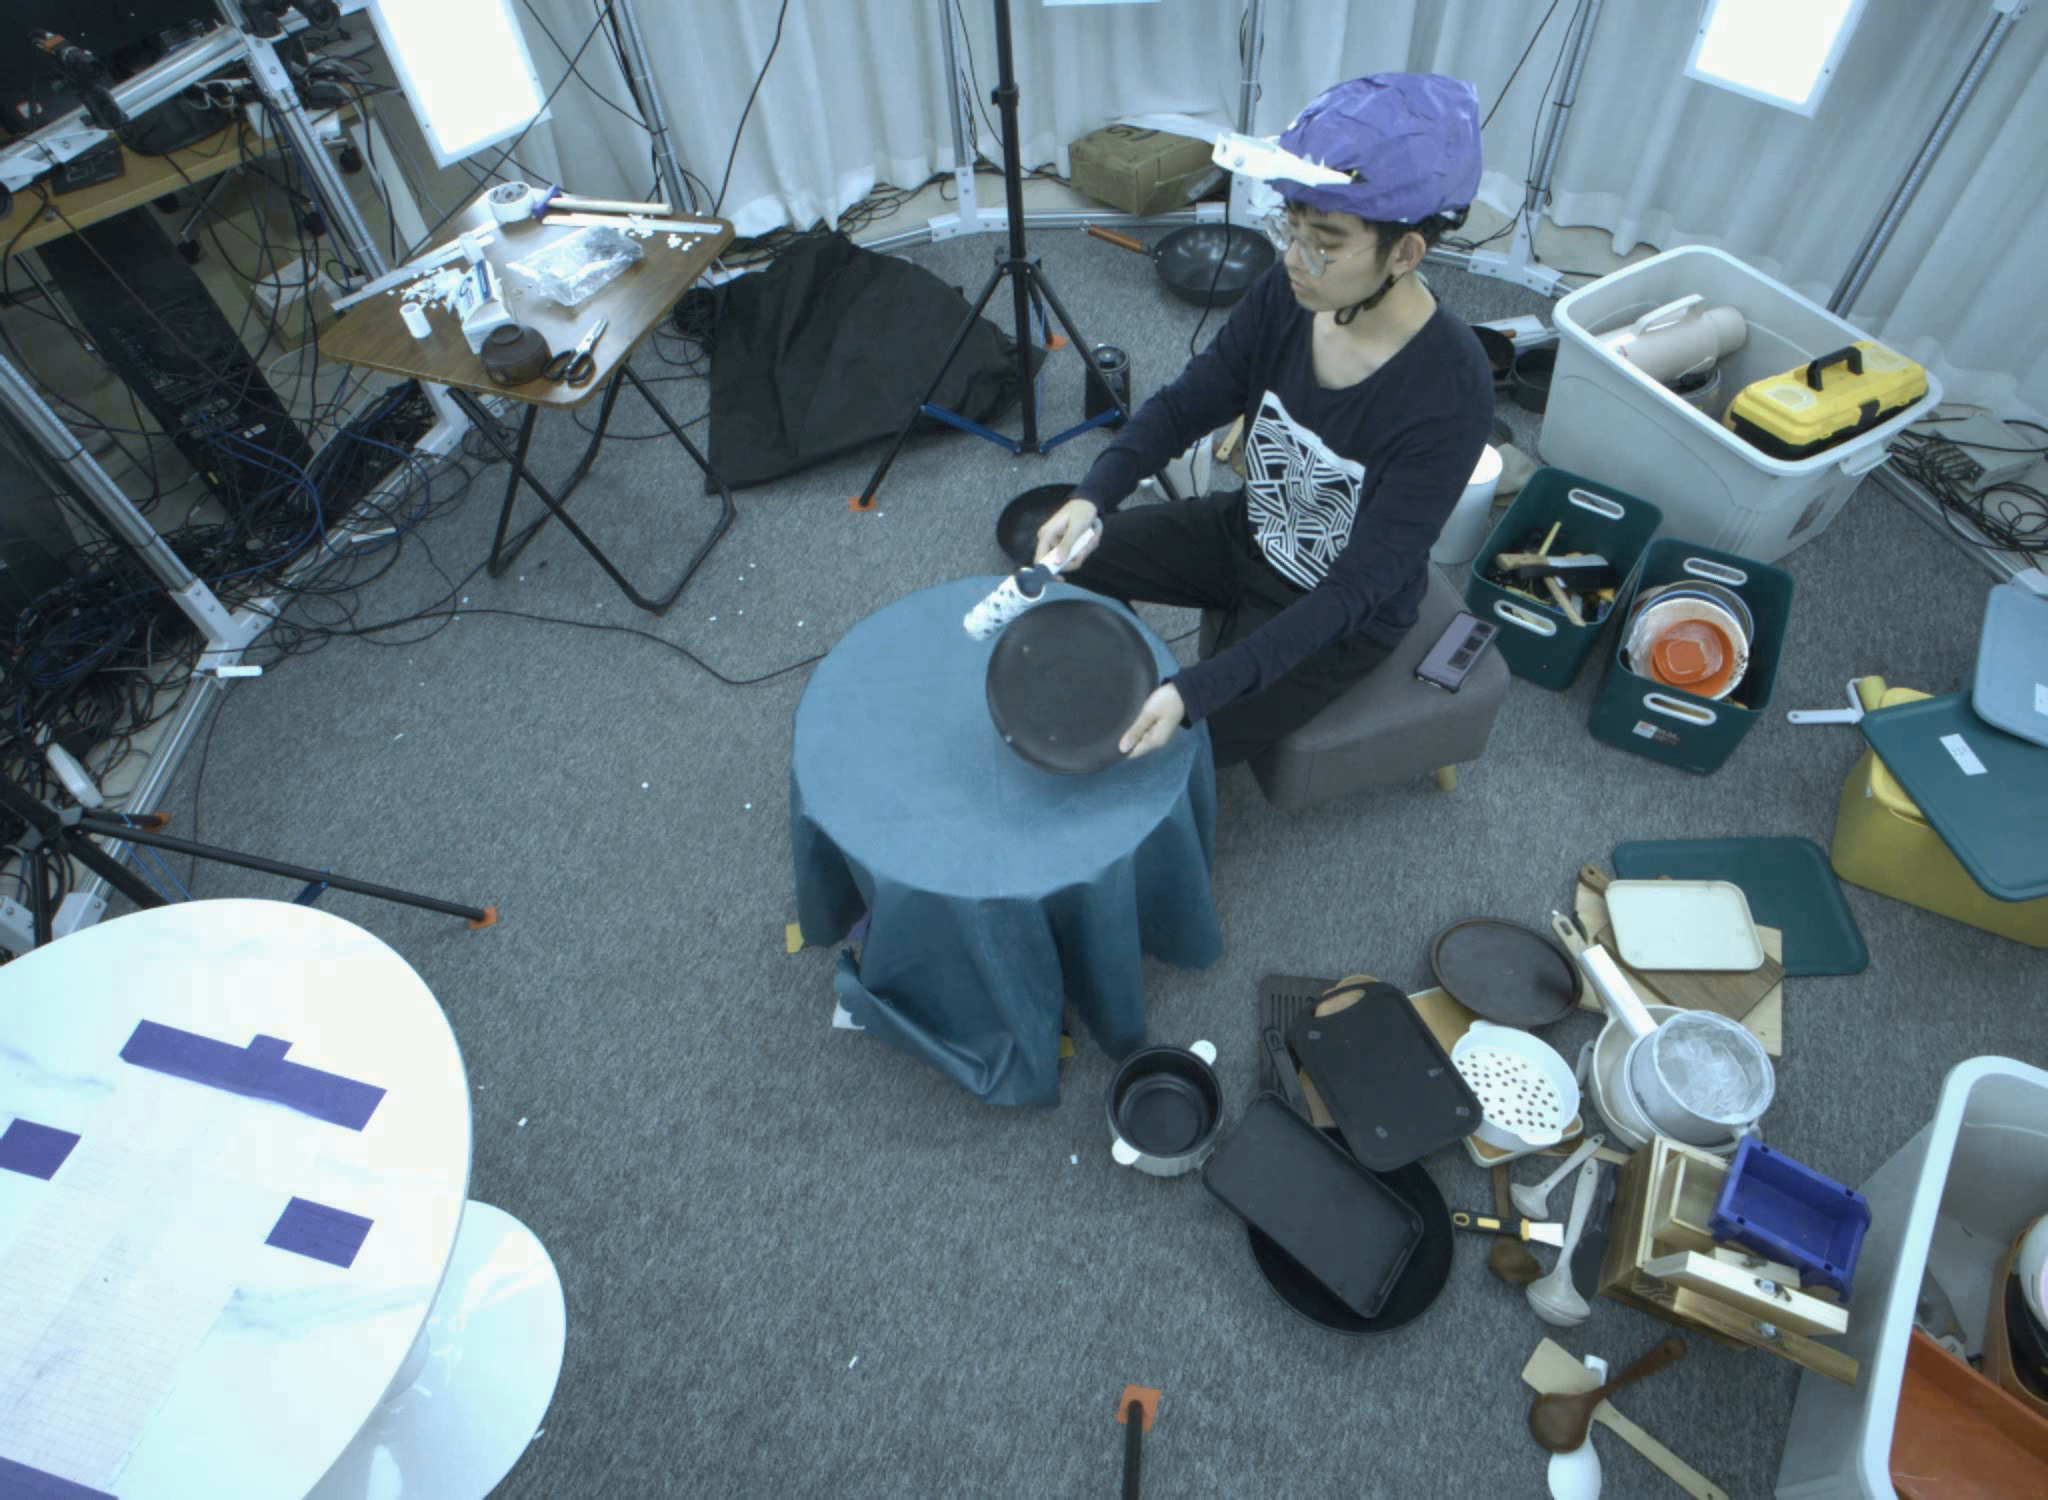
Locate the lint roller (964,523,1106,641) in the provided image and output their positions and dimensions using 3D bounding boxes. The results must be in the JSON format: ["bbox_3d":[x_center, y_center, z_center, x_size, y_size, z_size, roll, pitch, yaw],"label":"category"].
[{"bbox_3d":[0.030,-0.258,1.733,0.050,0.174,0.248,49,58,-6],"label":"lint roller"}]

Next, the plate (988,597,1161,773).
[{"bbox_3d":[0.069,-0.090,1.705,0.246,0.023,0.244,0,91,-12],"label":"plate"}]
